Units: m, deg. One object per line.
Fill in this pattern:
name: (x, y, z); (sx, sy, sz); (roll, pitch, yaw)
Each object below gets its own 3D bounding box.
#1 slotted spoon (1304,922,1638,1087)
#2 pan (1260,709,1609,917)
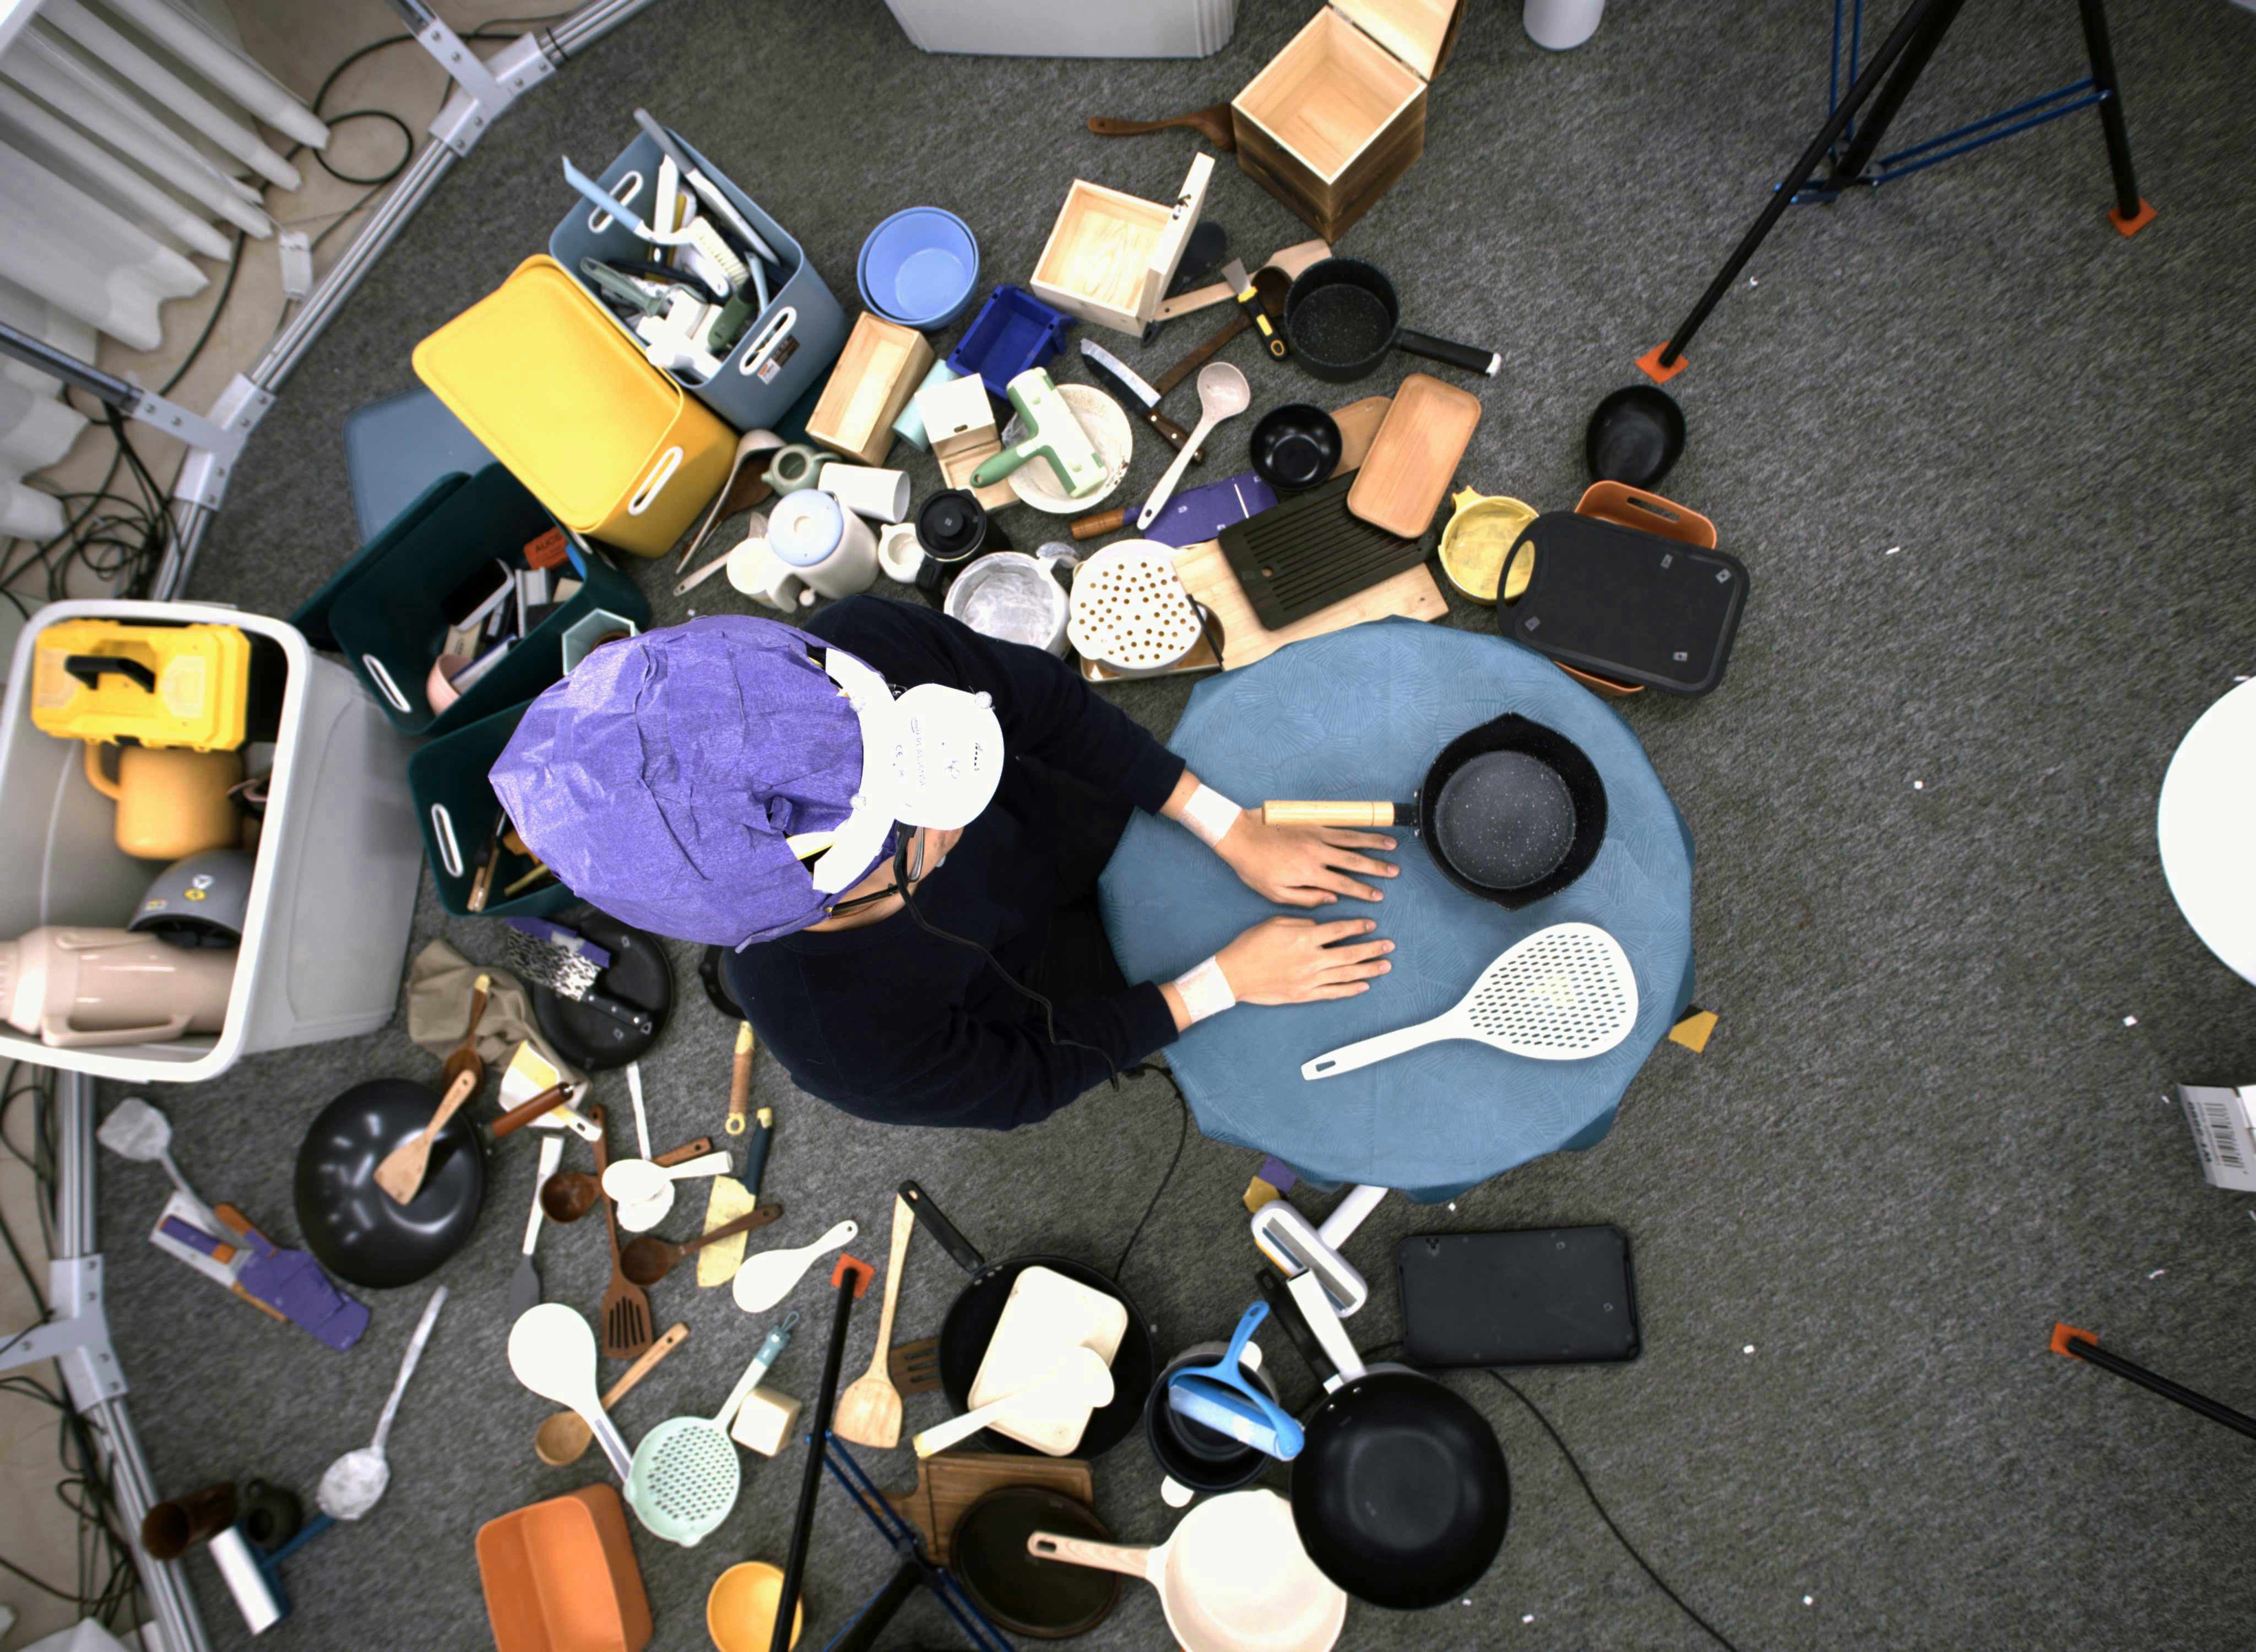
slotted spoon: (0.345, 0.201, 1.417); (0.349, 0.050, 0.136); (-20, 86, 7)
pan: (0.308, -0.011, 1.403); (0.344, 0.108, 0.207); (-2, 87, 9)
